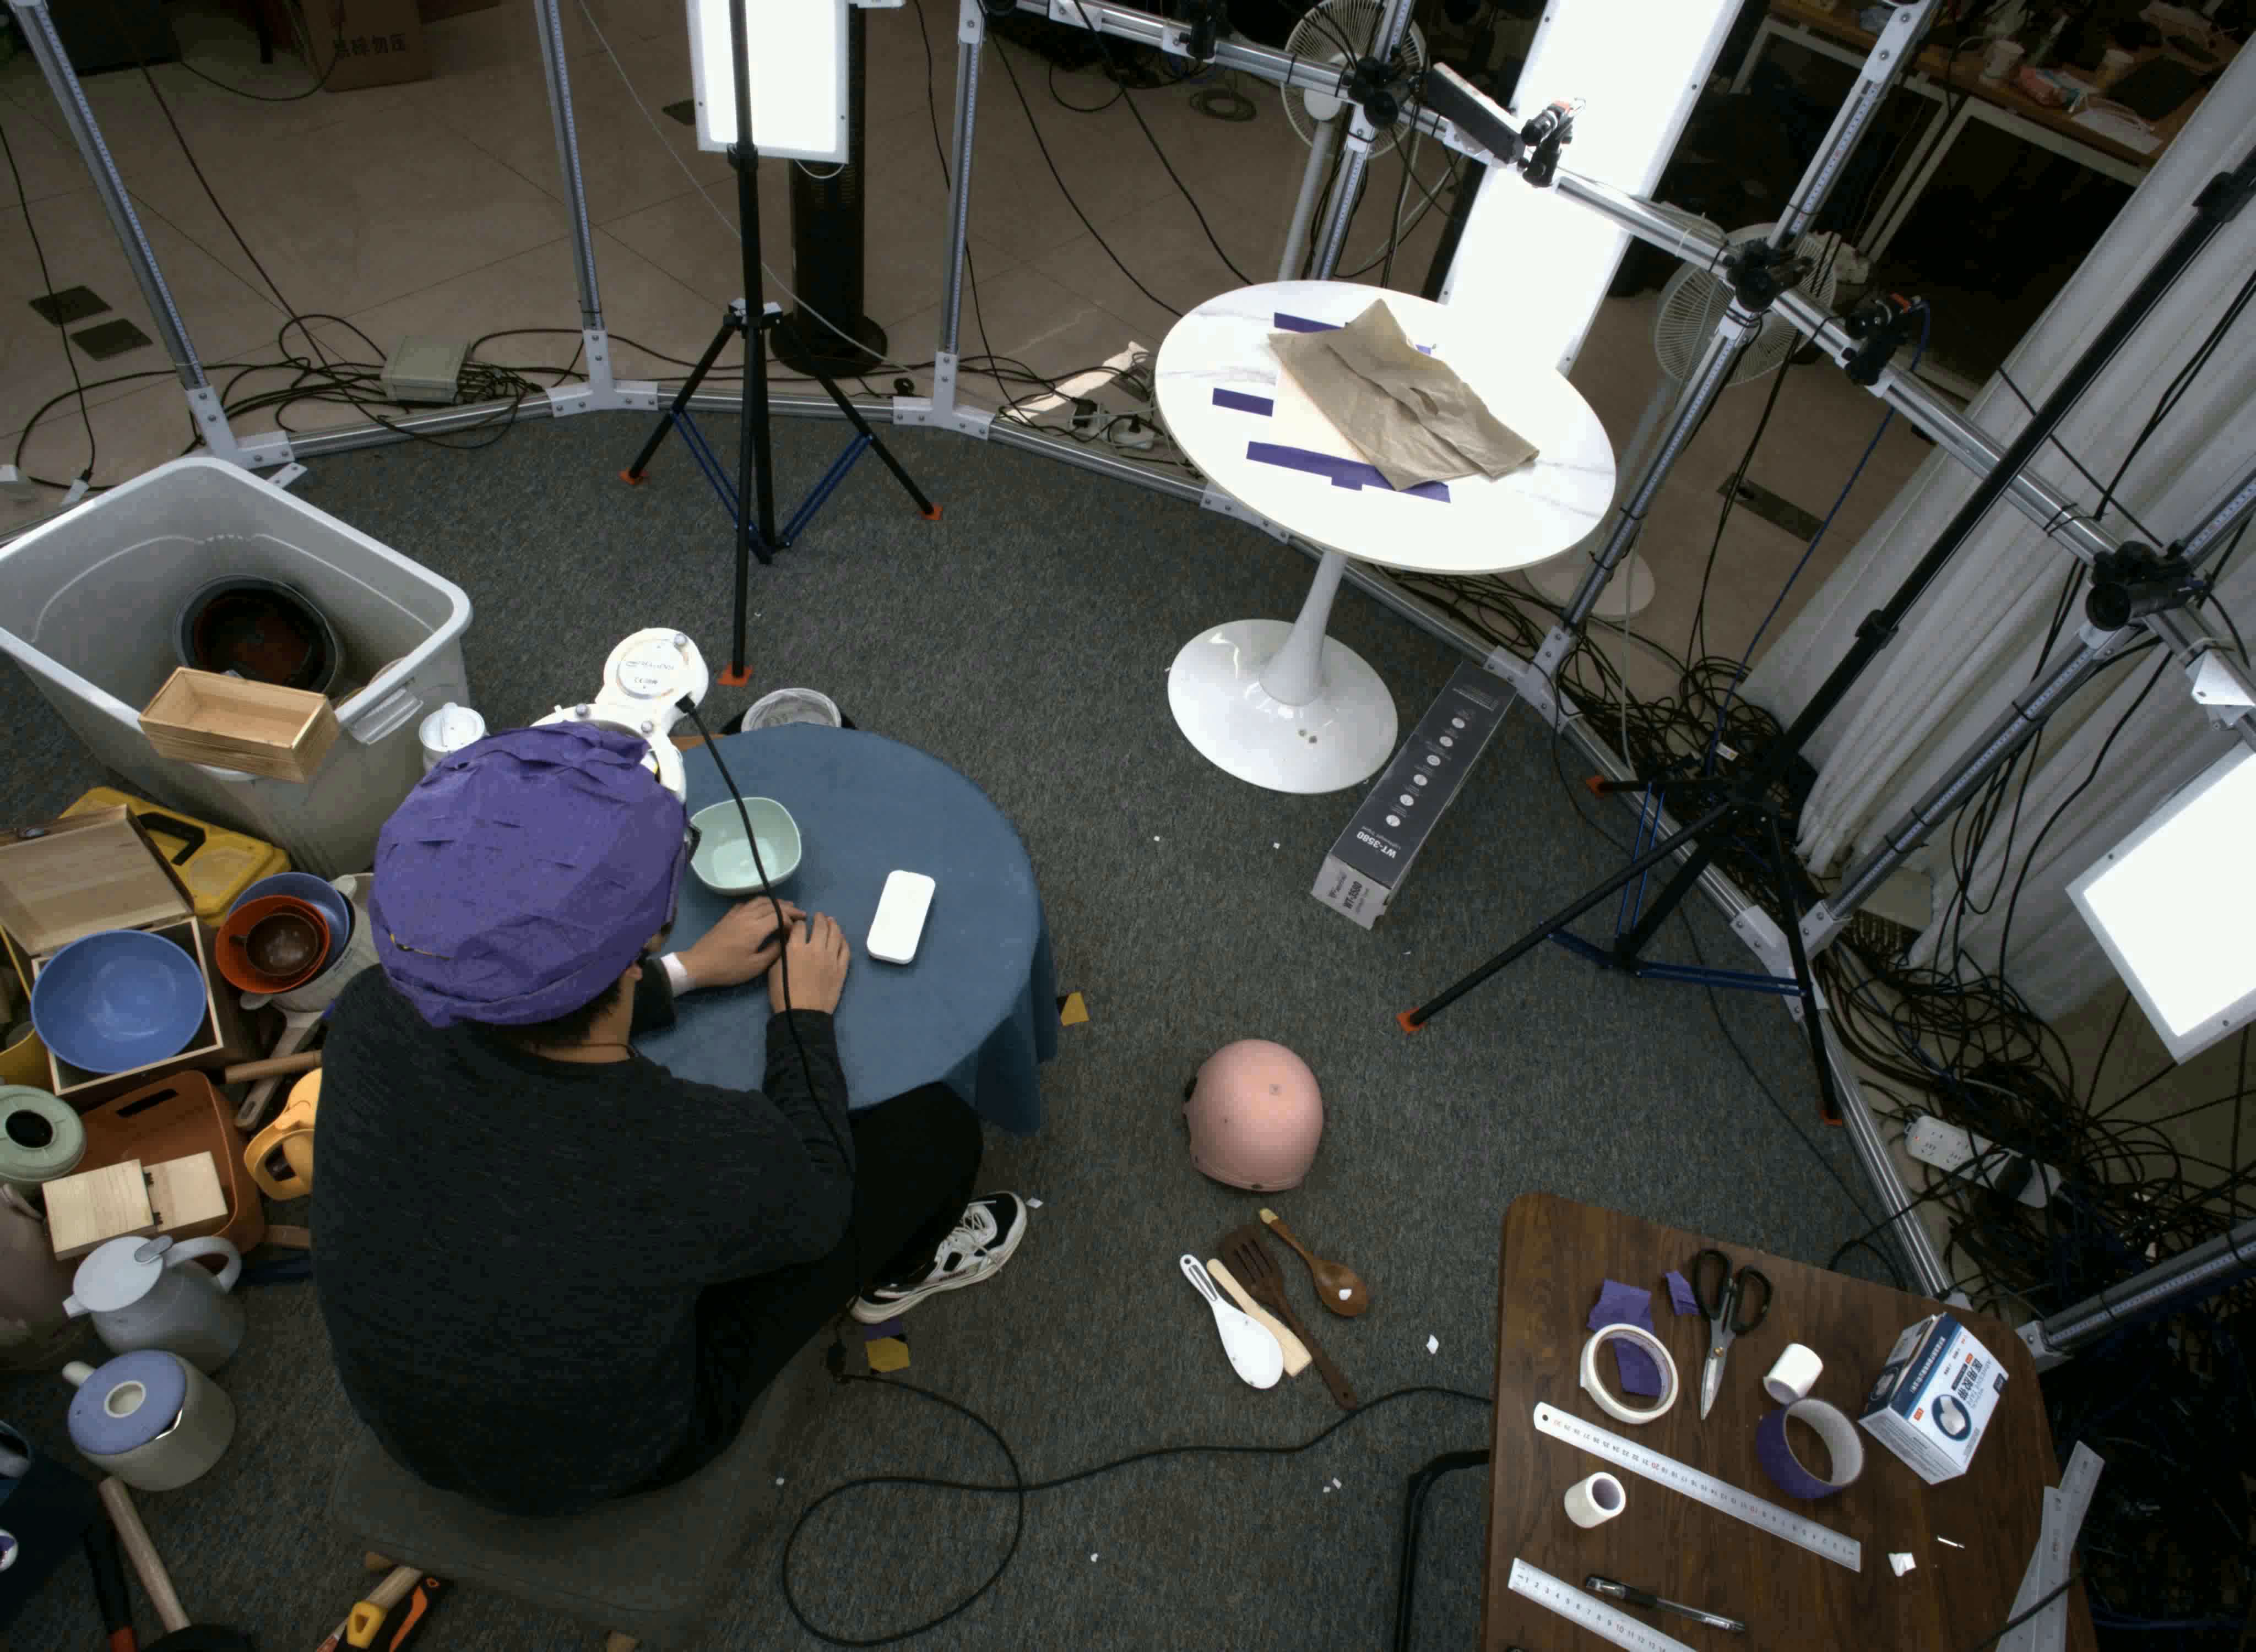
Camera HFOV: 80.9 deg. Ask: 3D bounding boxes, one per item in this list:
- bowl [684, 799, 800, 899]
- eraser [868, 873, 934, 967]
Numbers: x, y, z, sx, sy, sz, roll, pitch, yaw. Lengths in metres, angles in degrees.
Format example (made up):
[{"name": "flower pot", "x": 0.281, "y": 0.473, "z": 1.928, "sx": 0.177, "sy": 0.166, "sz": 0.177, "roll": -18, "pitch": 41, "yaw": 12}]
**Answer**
[{"name": "bowl", "x": -0.487, "y": 0.037, "z": 1.639, "sx": 0.151, "sy": 0.060, "sz": 0.148, "roll": 8, "pitch": 51, "yaw": -8}, {"name": "eraser", "x": -0.288, "y": 0.114, "z": 1.649, "sx": 0.063, "sy": 0.035, "sz": 0.129, "roll": 12, "pitch": 50, "yaw": -2}]
